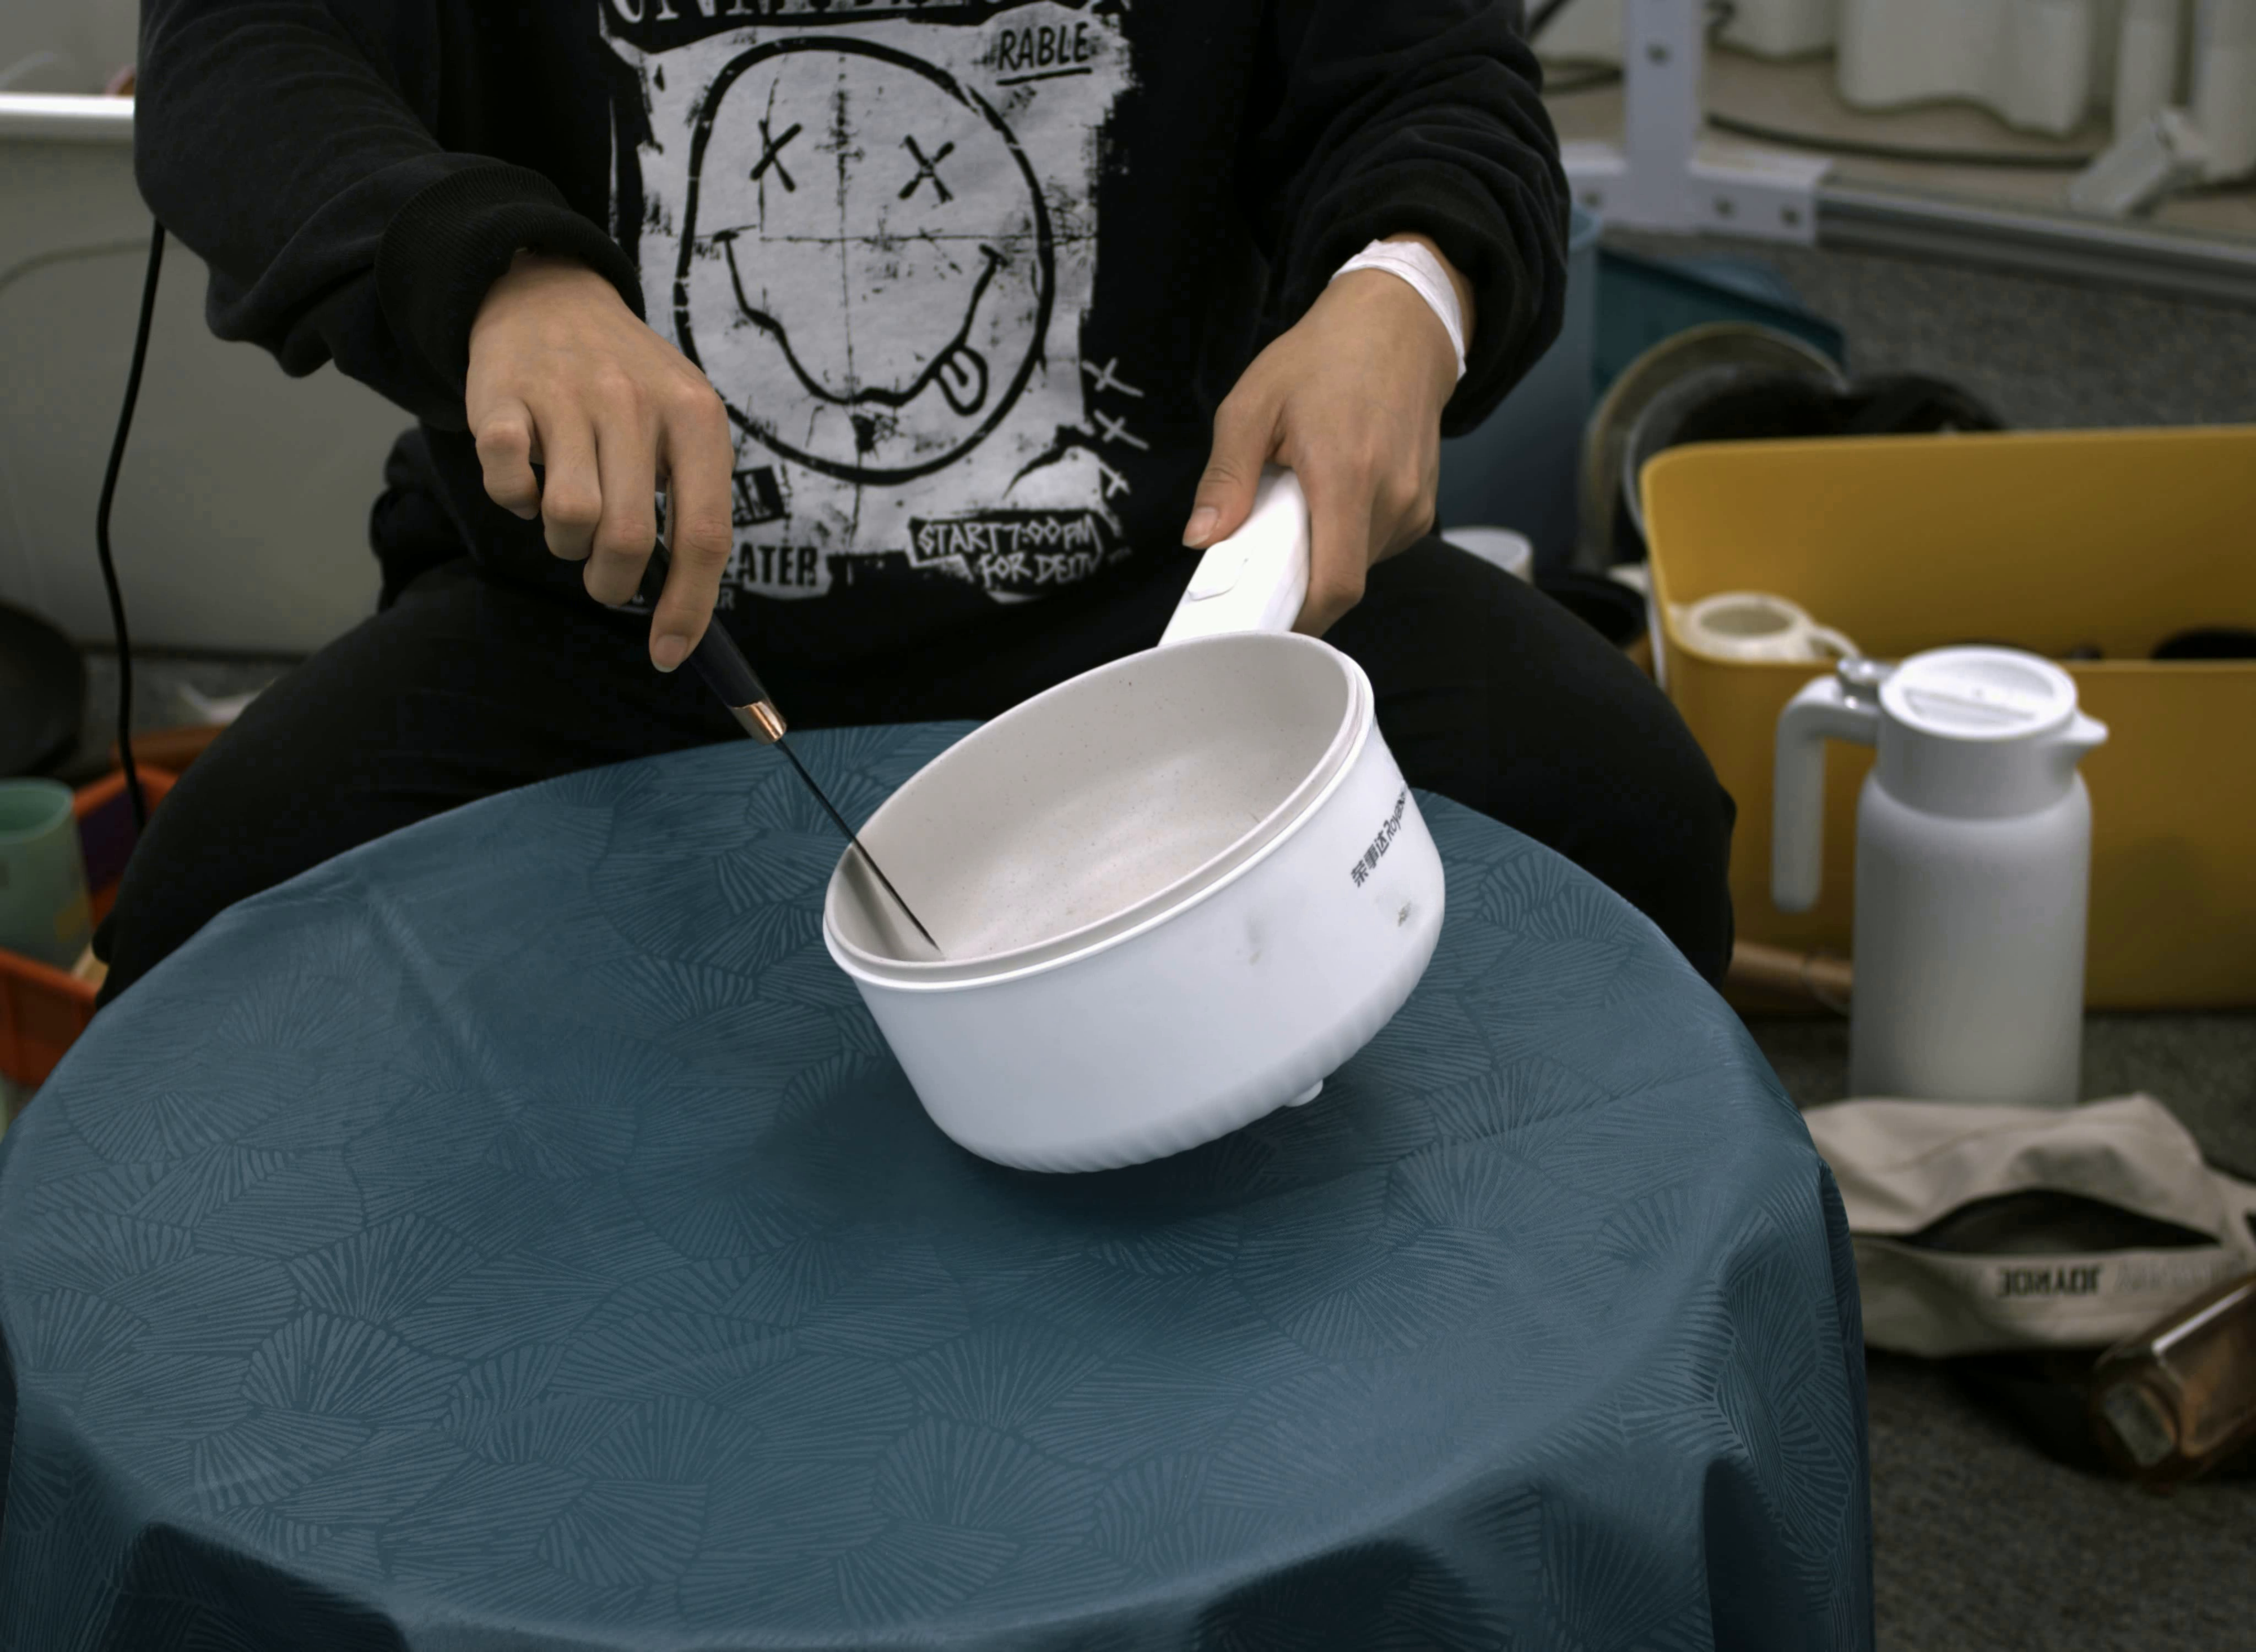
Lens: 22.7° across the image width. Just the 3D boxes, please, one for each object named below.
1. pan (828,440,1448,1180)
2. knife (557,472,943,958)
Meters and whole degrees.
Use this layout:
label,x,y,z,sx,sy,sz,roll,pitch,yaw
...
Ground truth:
label,x,y,z,sx,sy,sz,roll,pitch,yaw
pan,0.031,-0.008,1.945,0.199,0.101,0.361,-16,24,27
knife,-0.120,-0.029,1.886,0.017,0.224,0.026,-42,18,-14
